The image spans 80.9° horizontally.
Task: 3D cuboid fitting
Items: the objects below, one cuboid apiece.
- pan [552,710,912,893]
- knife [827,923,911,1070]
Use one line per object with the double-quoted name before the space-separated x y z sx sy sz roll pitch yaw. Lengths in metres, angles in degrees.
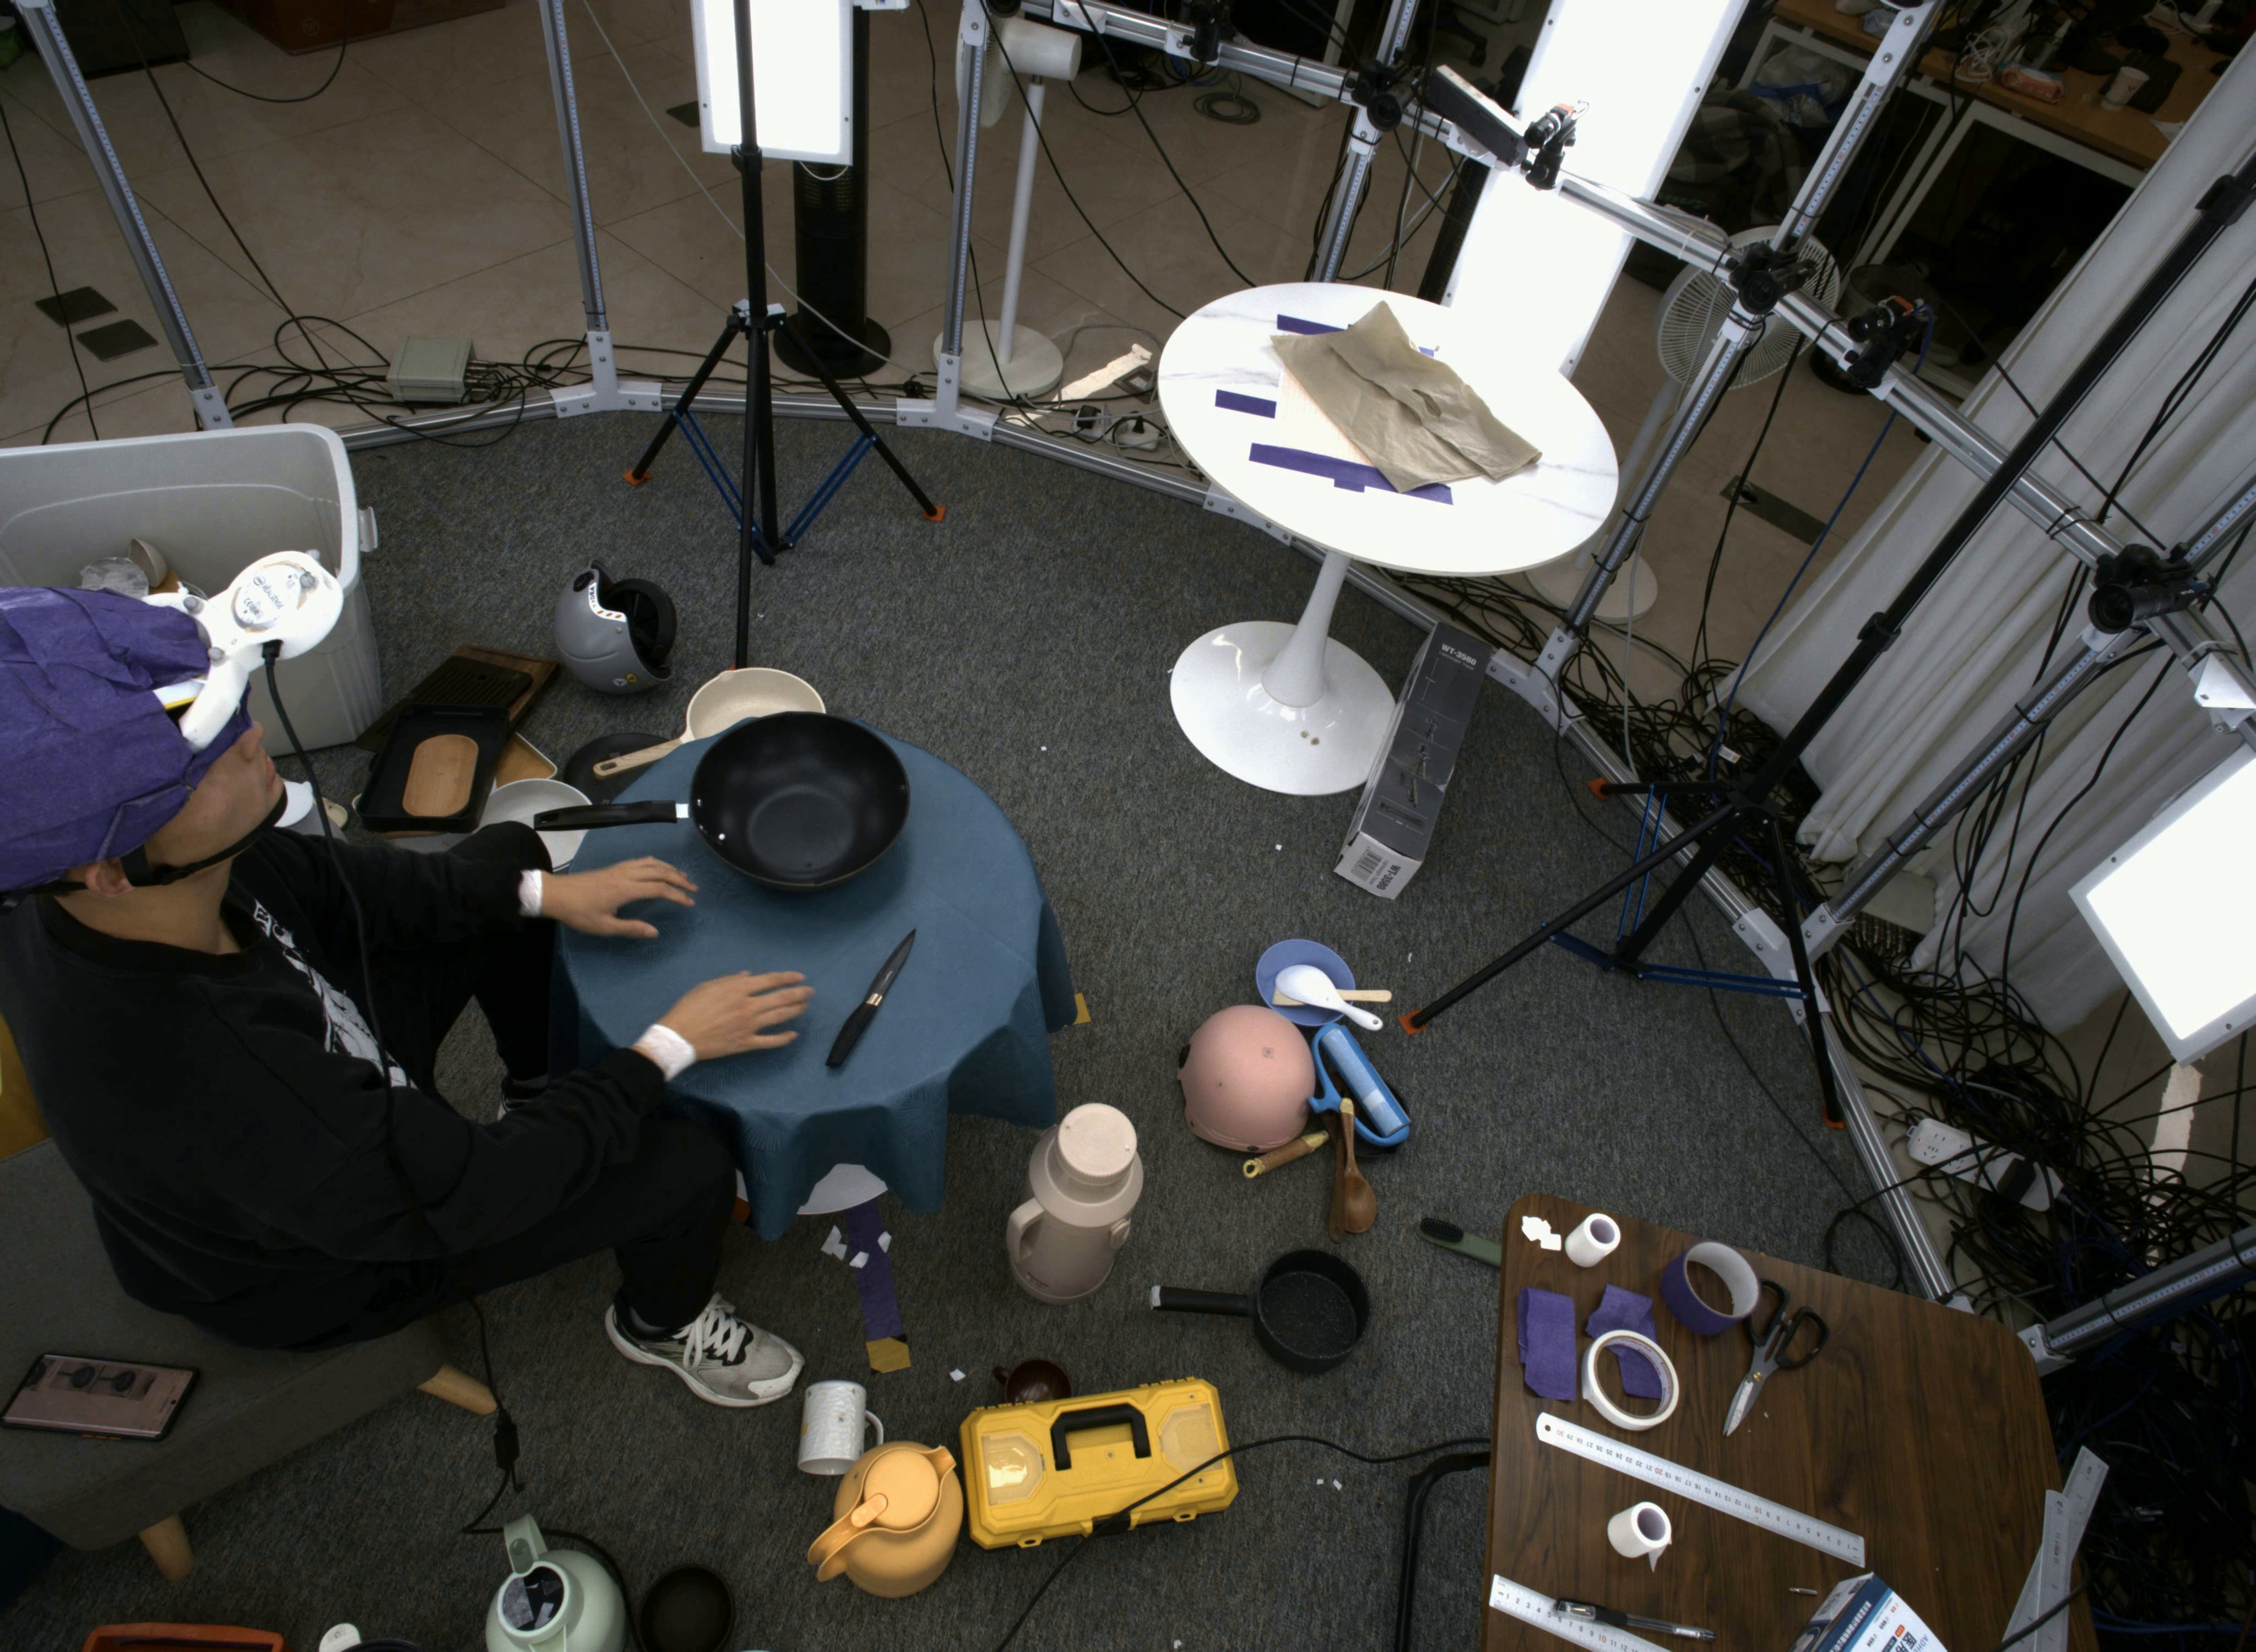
"pan" -0.507 -0.009 1.655 0.465 0.088 0.281 -7 56 -18
"knife" -0.311 0.202 1.594 0.025 0.018 0.223 15 50 13
